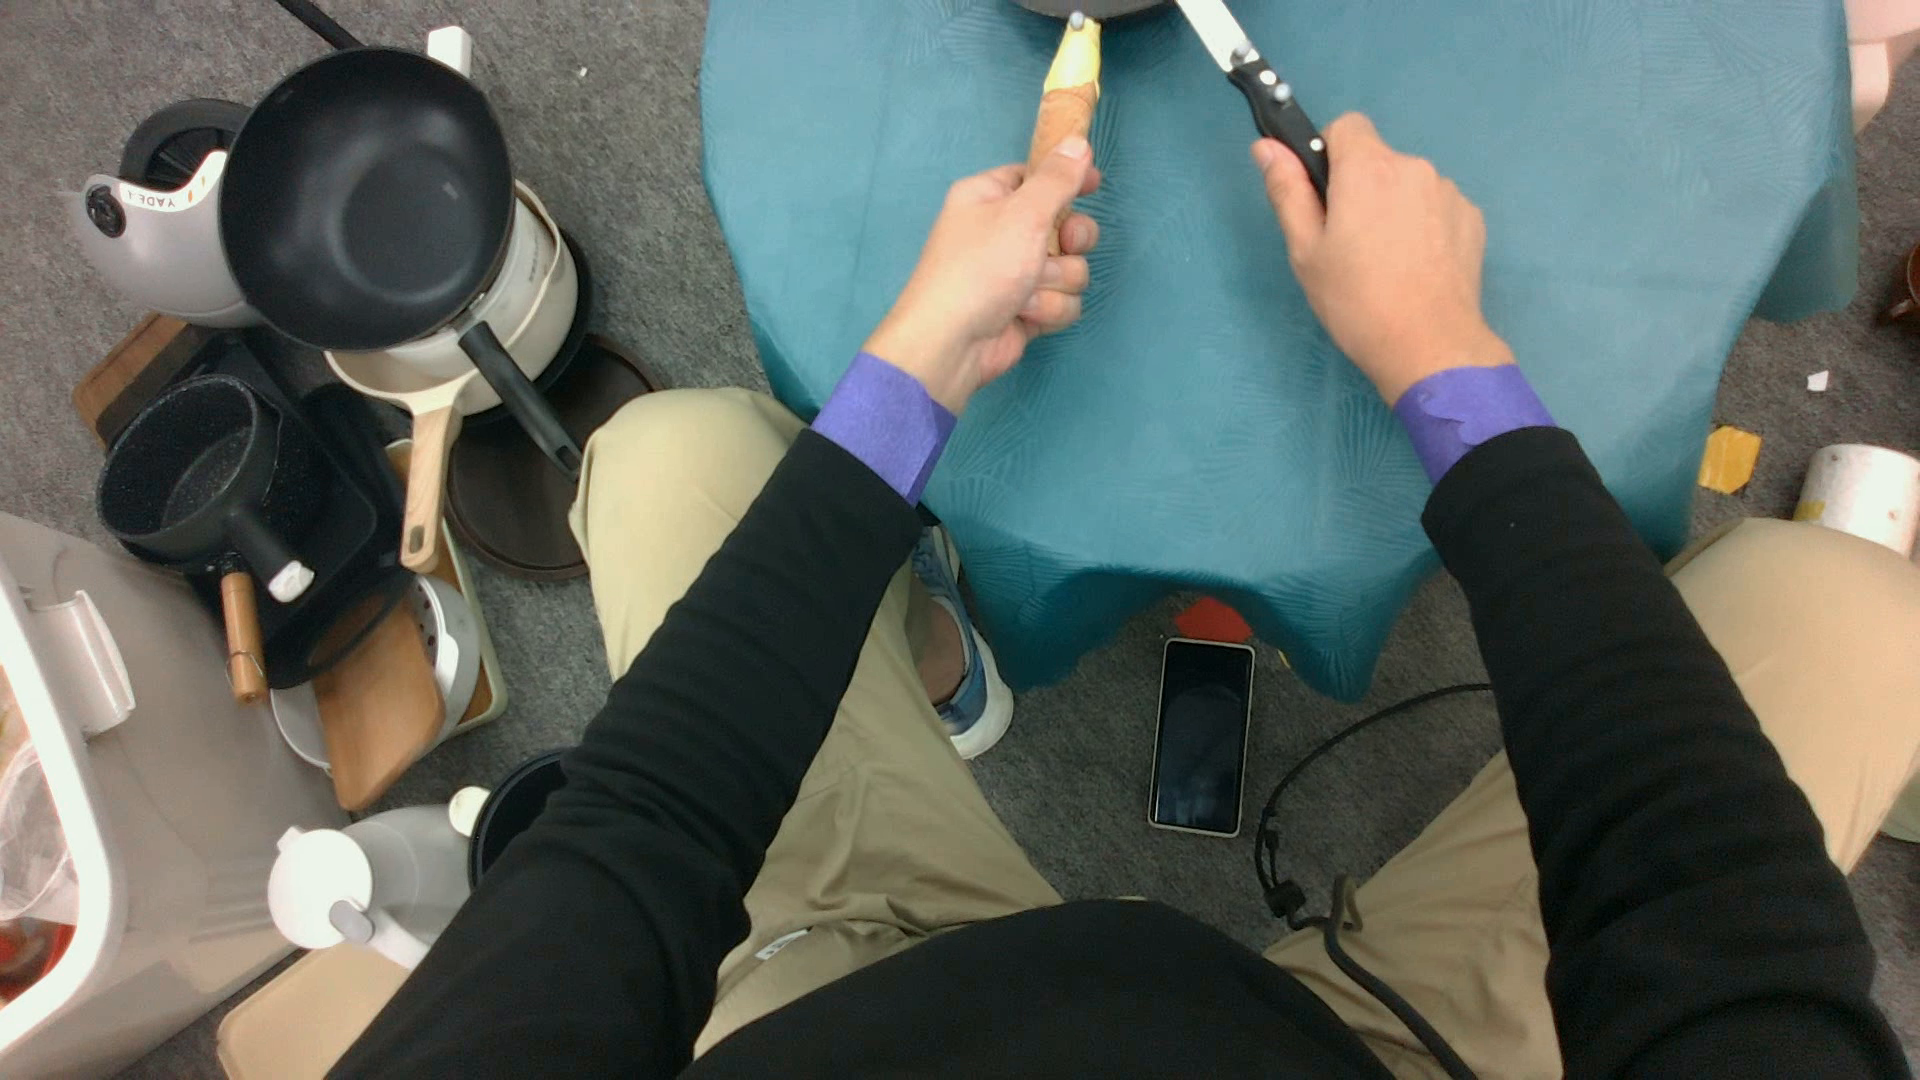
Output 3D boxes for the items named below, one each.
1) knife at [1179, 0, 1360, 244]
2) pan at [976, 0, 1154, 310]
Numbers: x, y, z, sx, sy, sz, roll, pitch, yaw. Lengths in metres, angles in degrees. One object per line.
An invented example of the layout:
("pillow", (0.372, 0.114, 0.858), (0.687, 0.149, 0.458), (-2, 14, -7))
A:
("knife", (0.134, -0.250, 0.692), (0.024, 0.016, 0.238), (-25, 78, -22))
("pan", (0.050, -0.265, 0.719), (0.169, 0.049, 0.325), (9, 76, 14))
